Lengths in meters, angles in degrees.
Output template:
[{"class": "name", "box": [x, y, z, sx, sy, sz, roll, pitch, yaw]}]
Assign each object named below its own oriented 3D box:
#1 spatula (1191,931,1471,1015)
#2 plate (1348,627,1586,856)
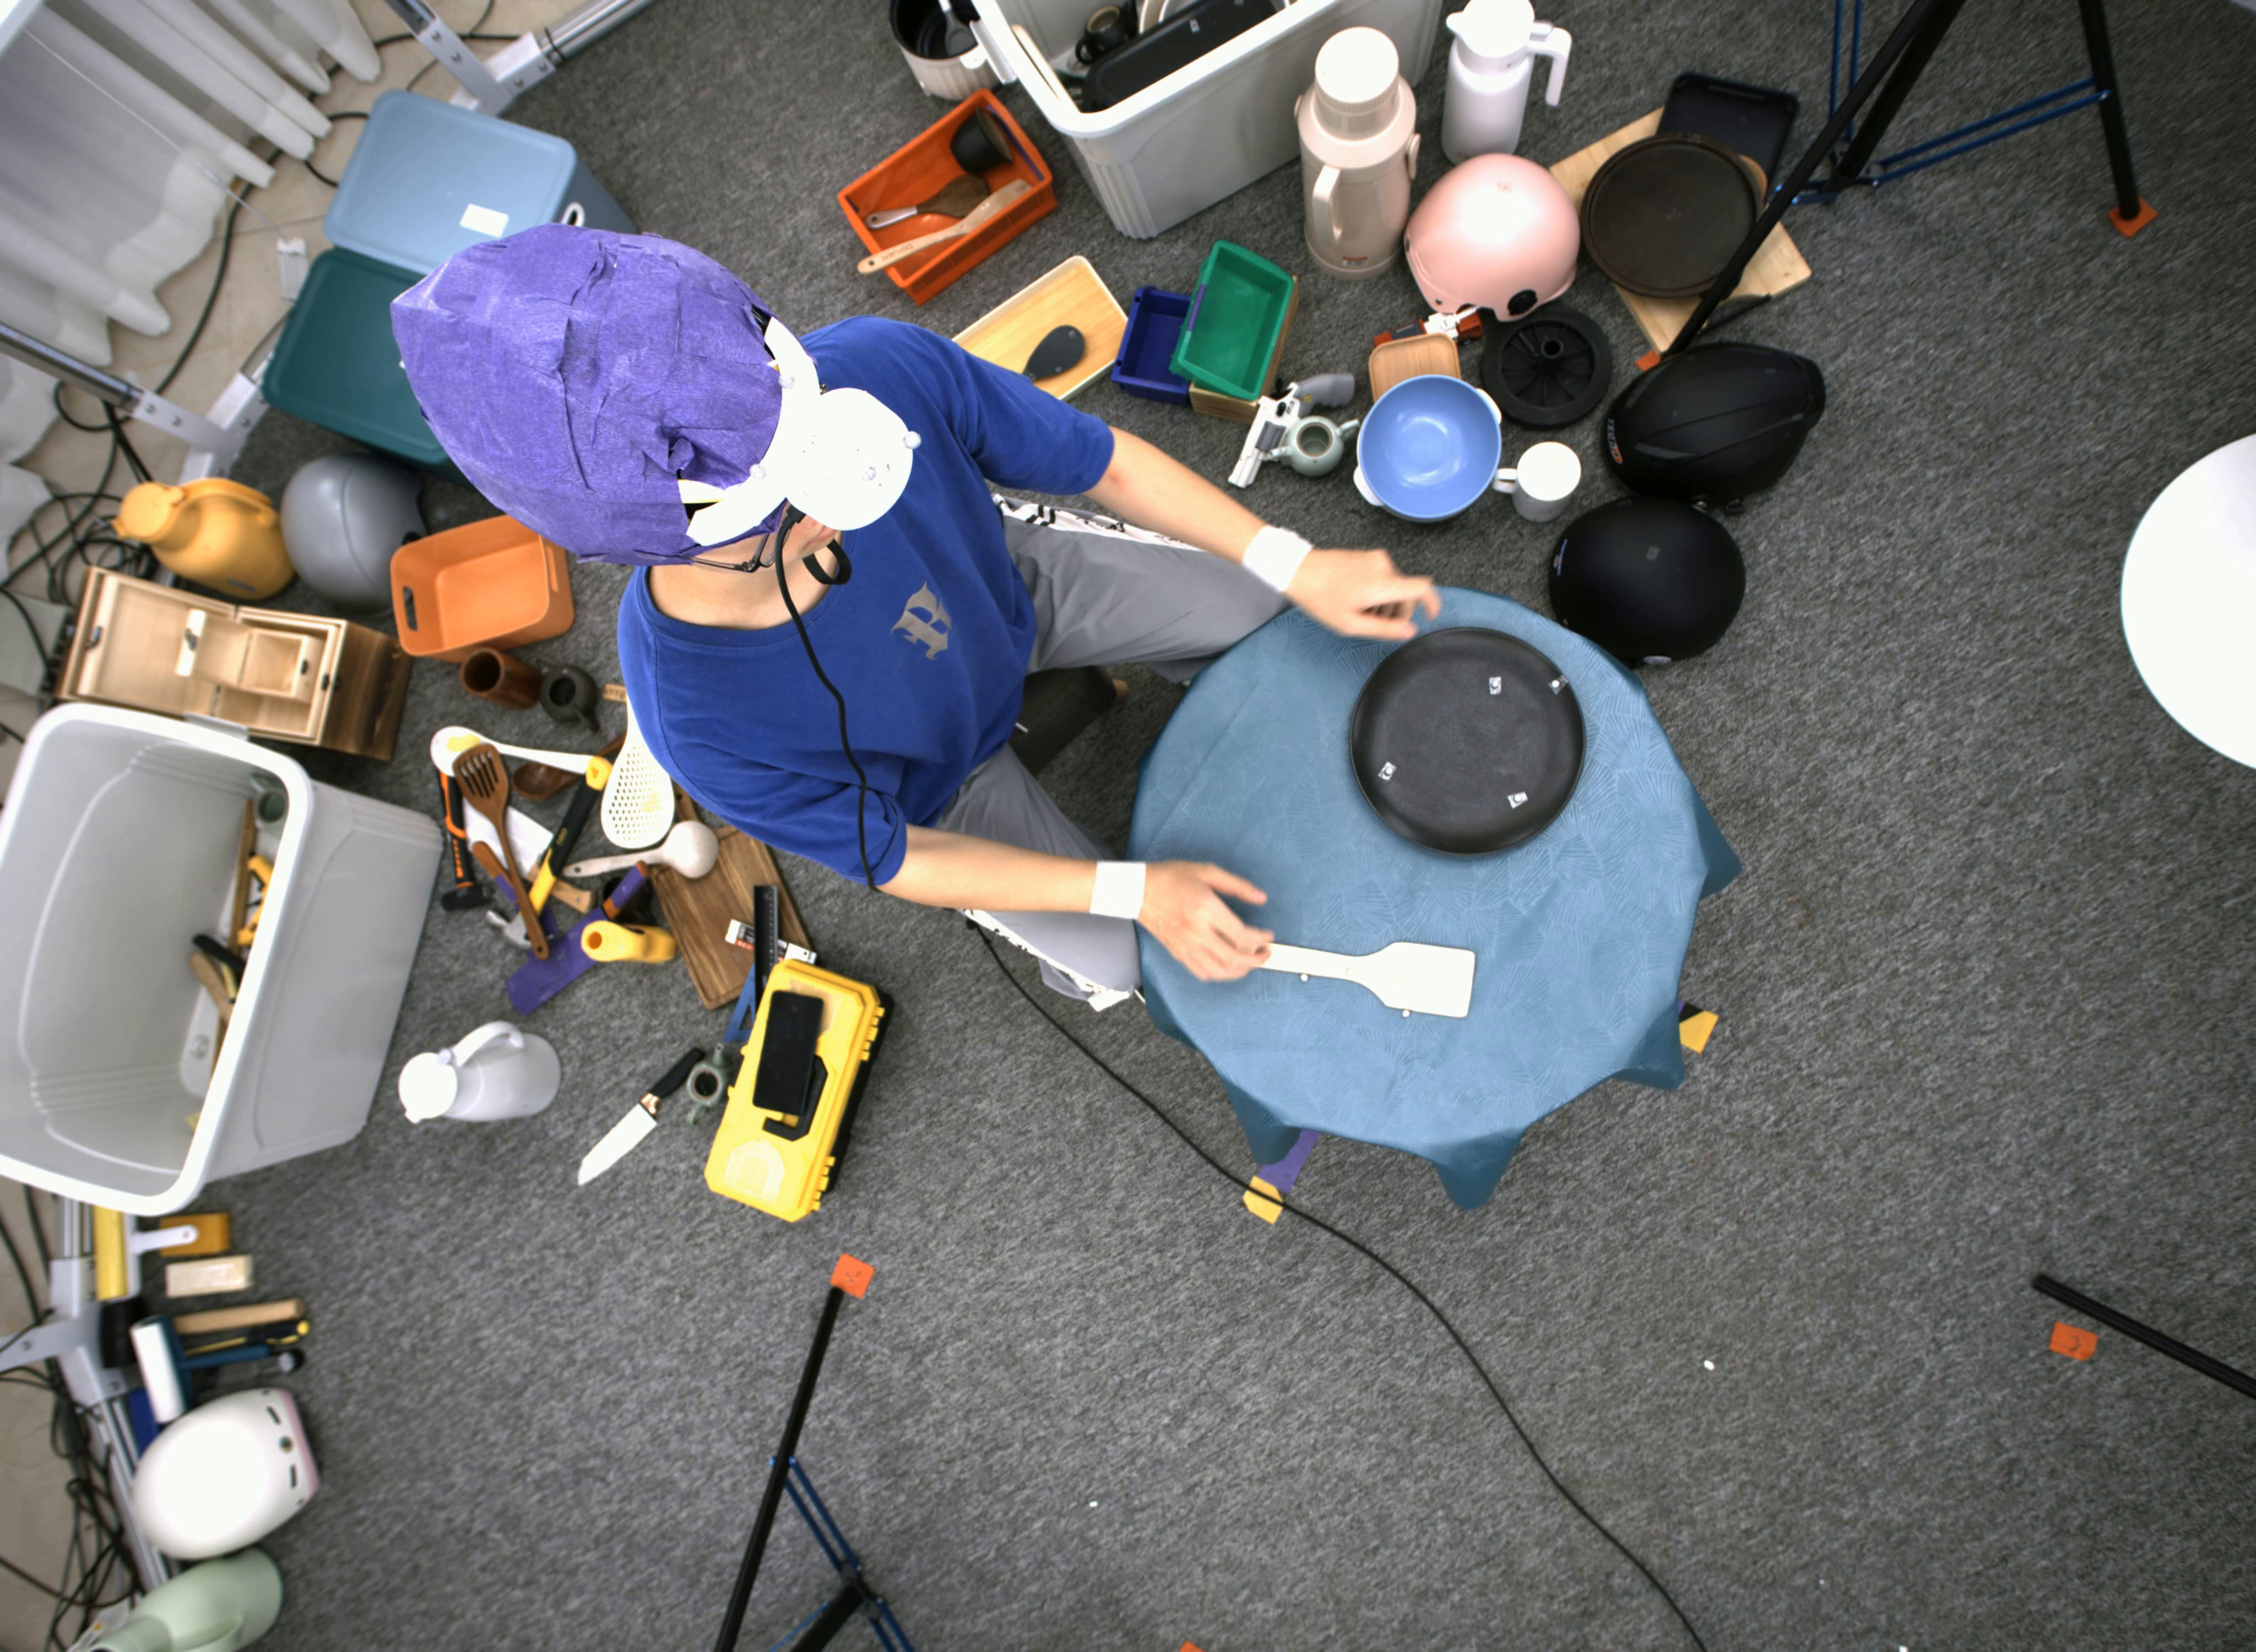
[{"class": "spatula", "box": [0.210, 0.144, 1.461, 0.294, 0.010, 0.072, 7, 90, 11]}, {"class": "plate", "box": [0.354, -0.090, 1.439, 0.245, 0.023, 0.243, -1, 87, 11]}]
